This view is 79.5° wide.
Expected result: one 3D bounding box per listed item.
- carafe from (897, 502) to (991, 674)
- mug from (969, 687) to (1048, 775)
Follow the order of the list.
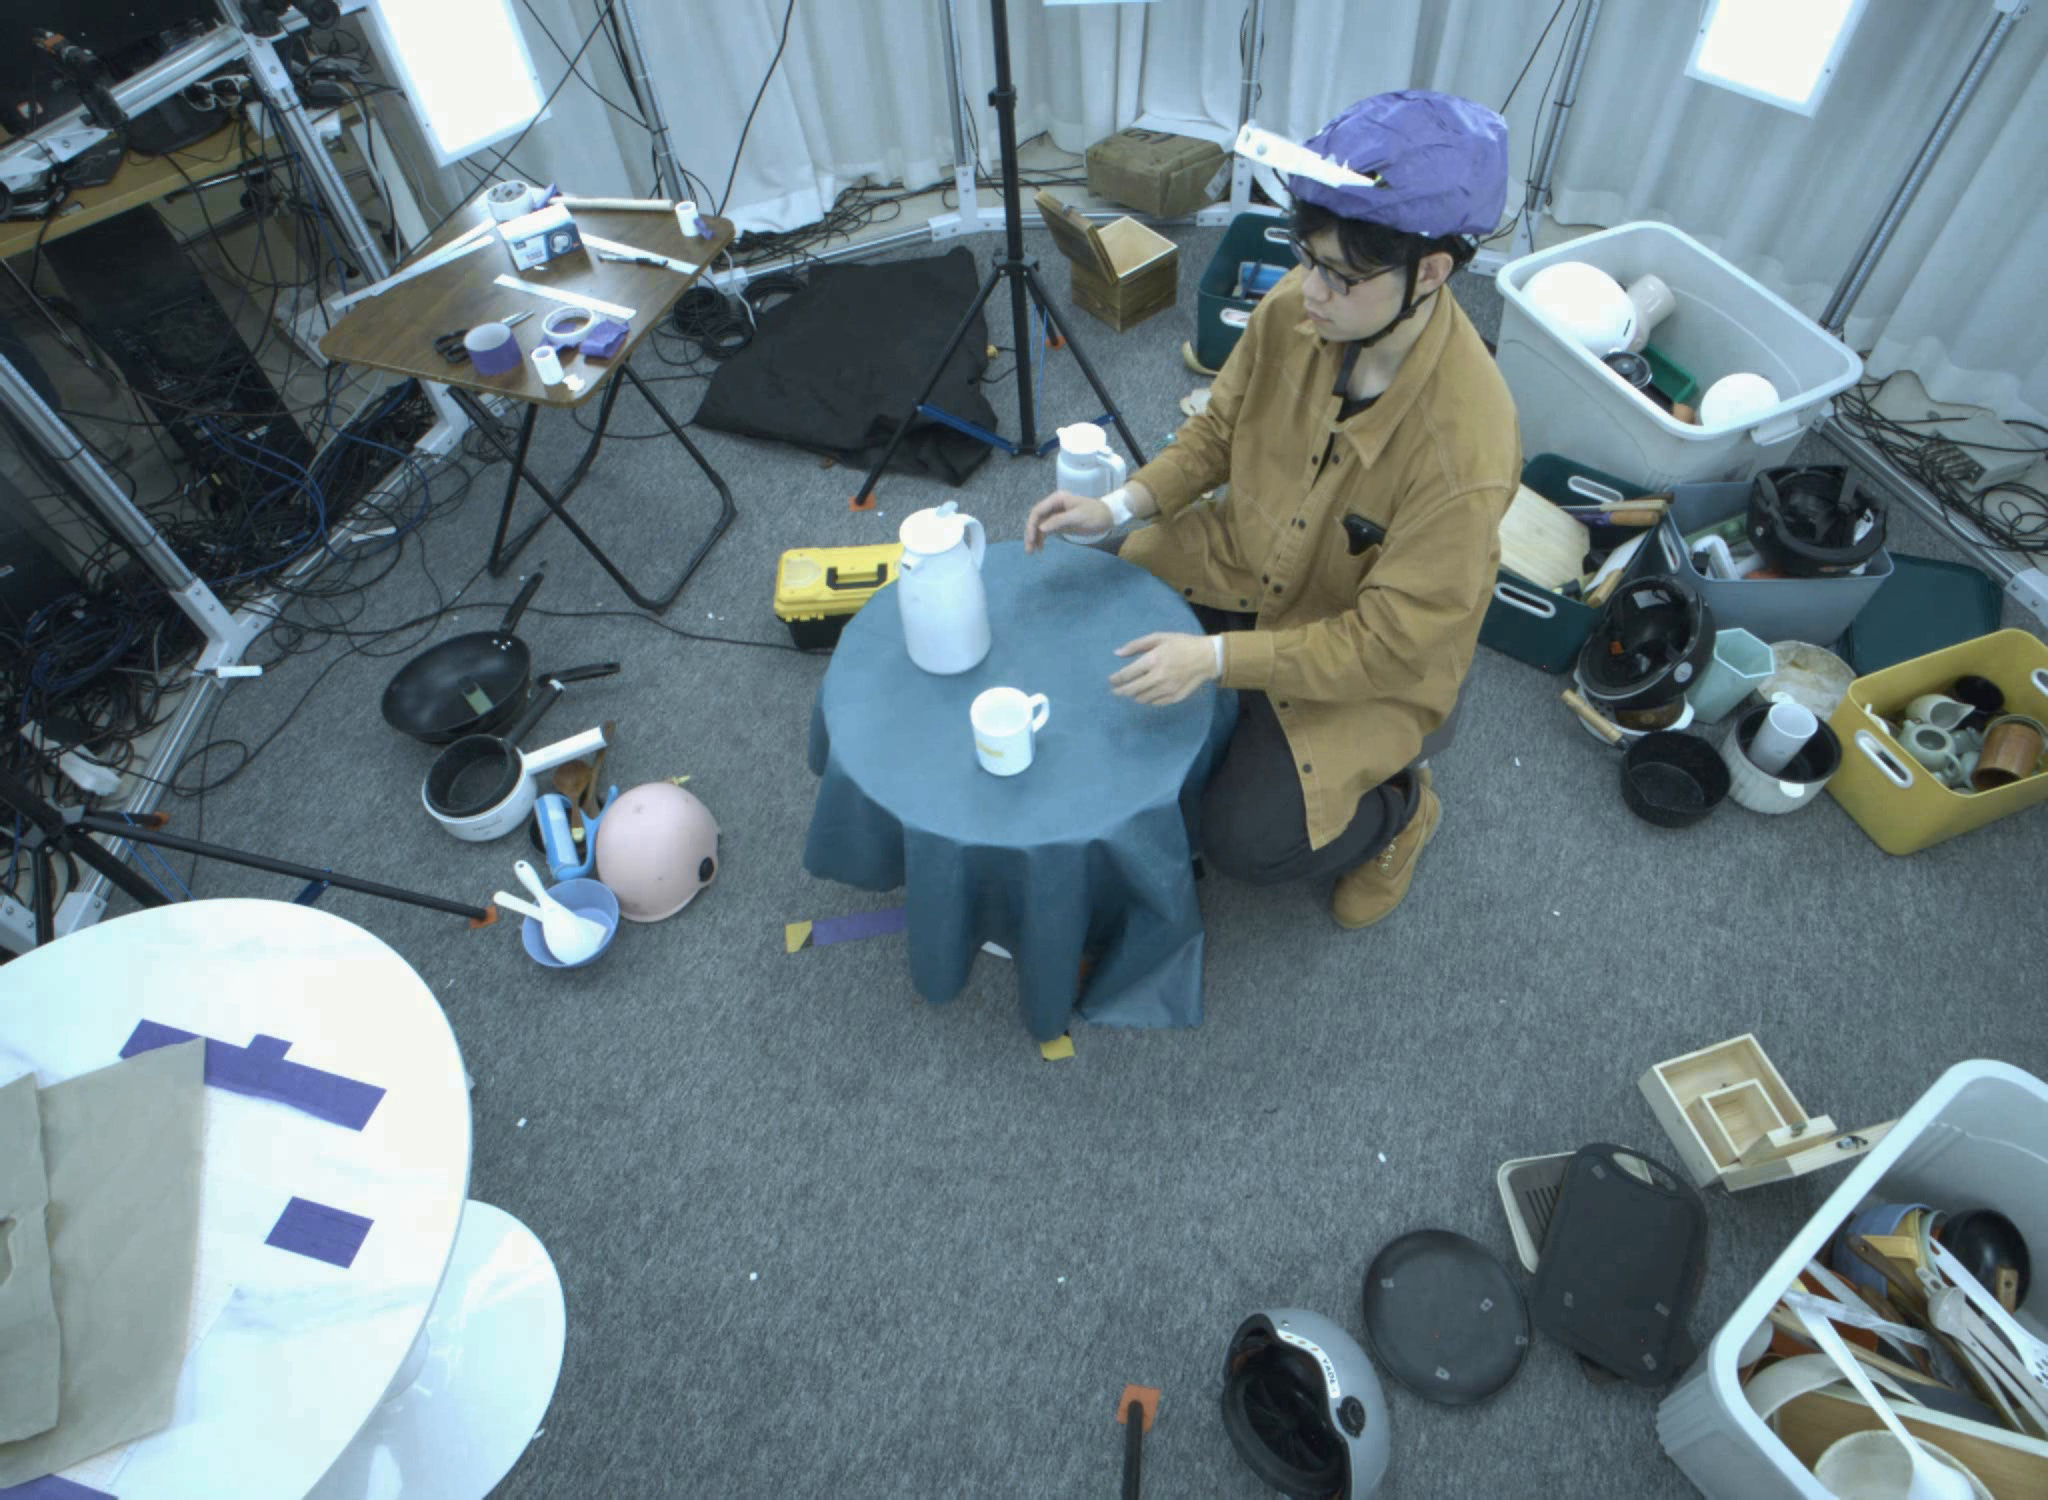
[{"bbox_3d":[-0.116,-0.254,1.815,0.130,0.251,0.168,25,59,21],"label":"carafe"},{"bbox_3d":[-0.017,-0.033,1.741,0.119,0.103,0.083,-33,58,-18],"label":"mug"}]
